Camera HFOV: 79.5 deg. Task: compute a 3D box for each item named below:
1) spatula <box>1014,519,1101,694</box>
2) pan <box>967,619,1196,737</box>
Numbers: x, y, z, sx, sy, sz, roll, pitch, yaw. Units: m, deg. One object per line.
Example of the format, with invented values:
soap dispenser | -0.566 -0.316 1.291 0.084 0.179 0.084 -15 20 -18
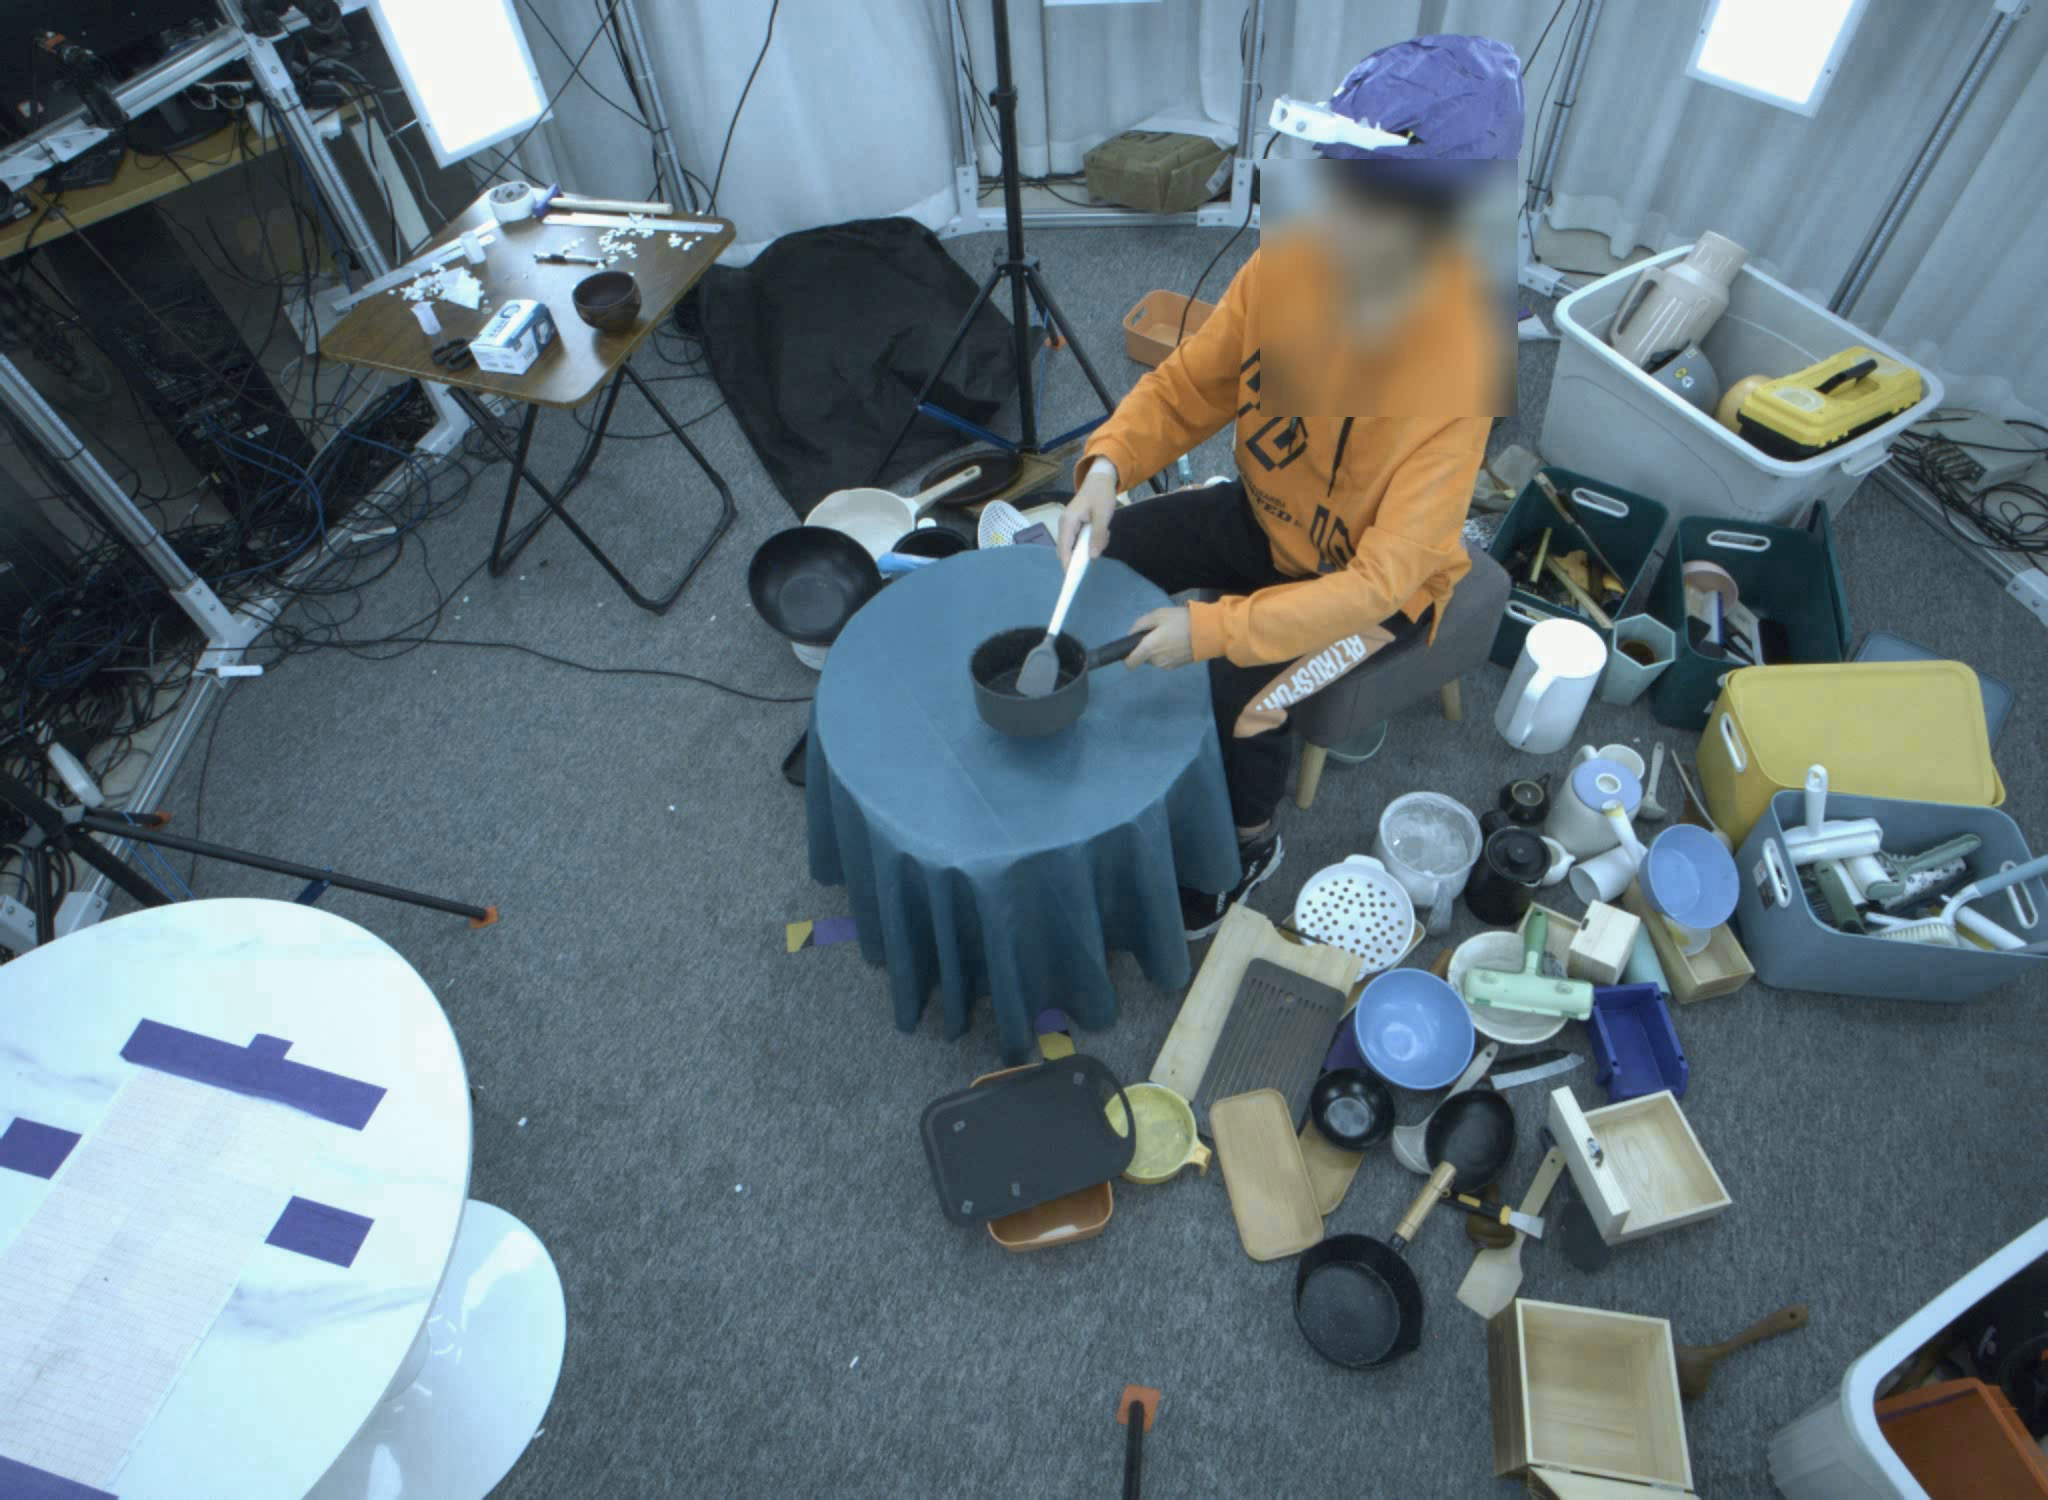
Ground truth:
spatula | 0.053 -0.199 1.763 0.059 0.032 0.287 23 77 -16
pan | 0.085 -0.116 1.755 0.330 0.087 0.169 -12 43 -6
